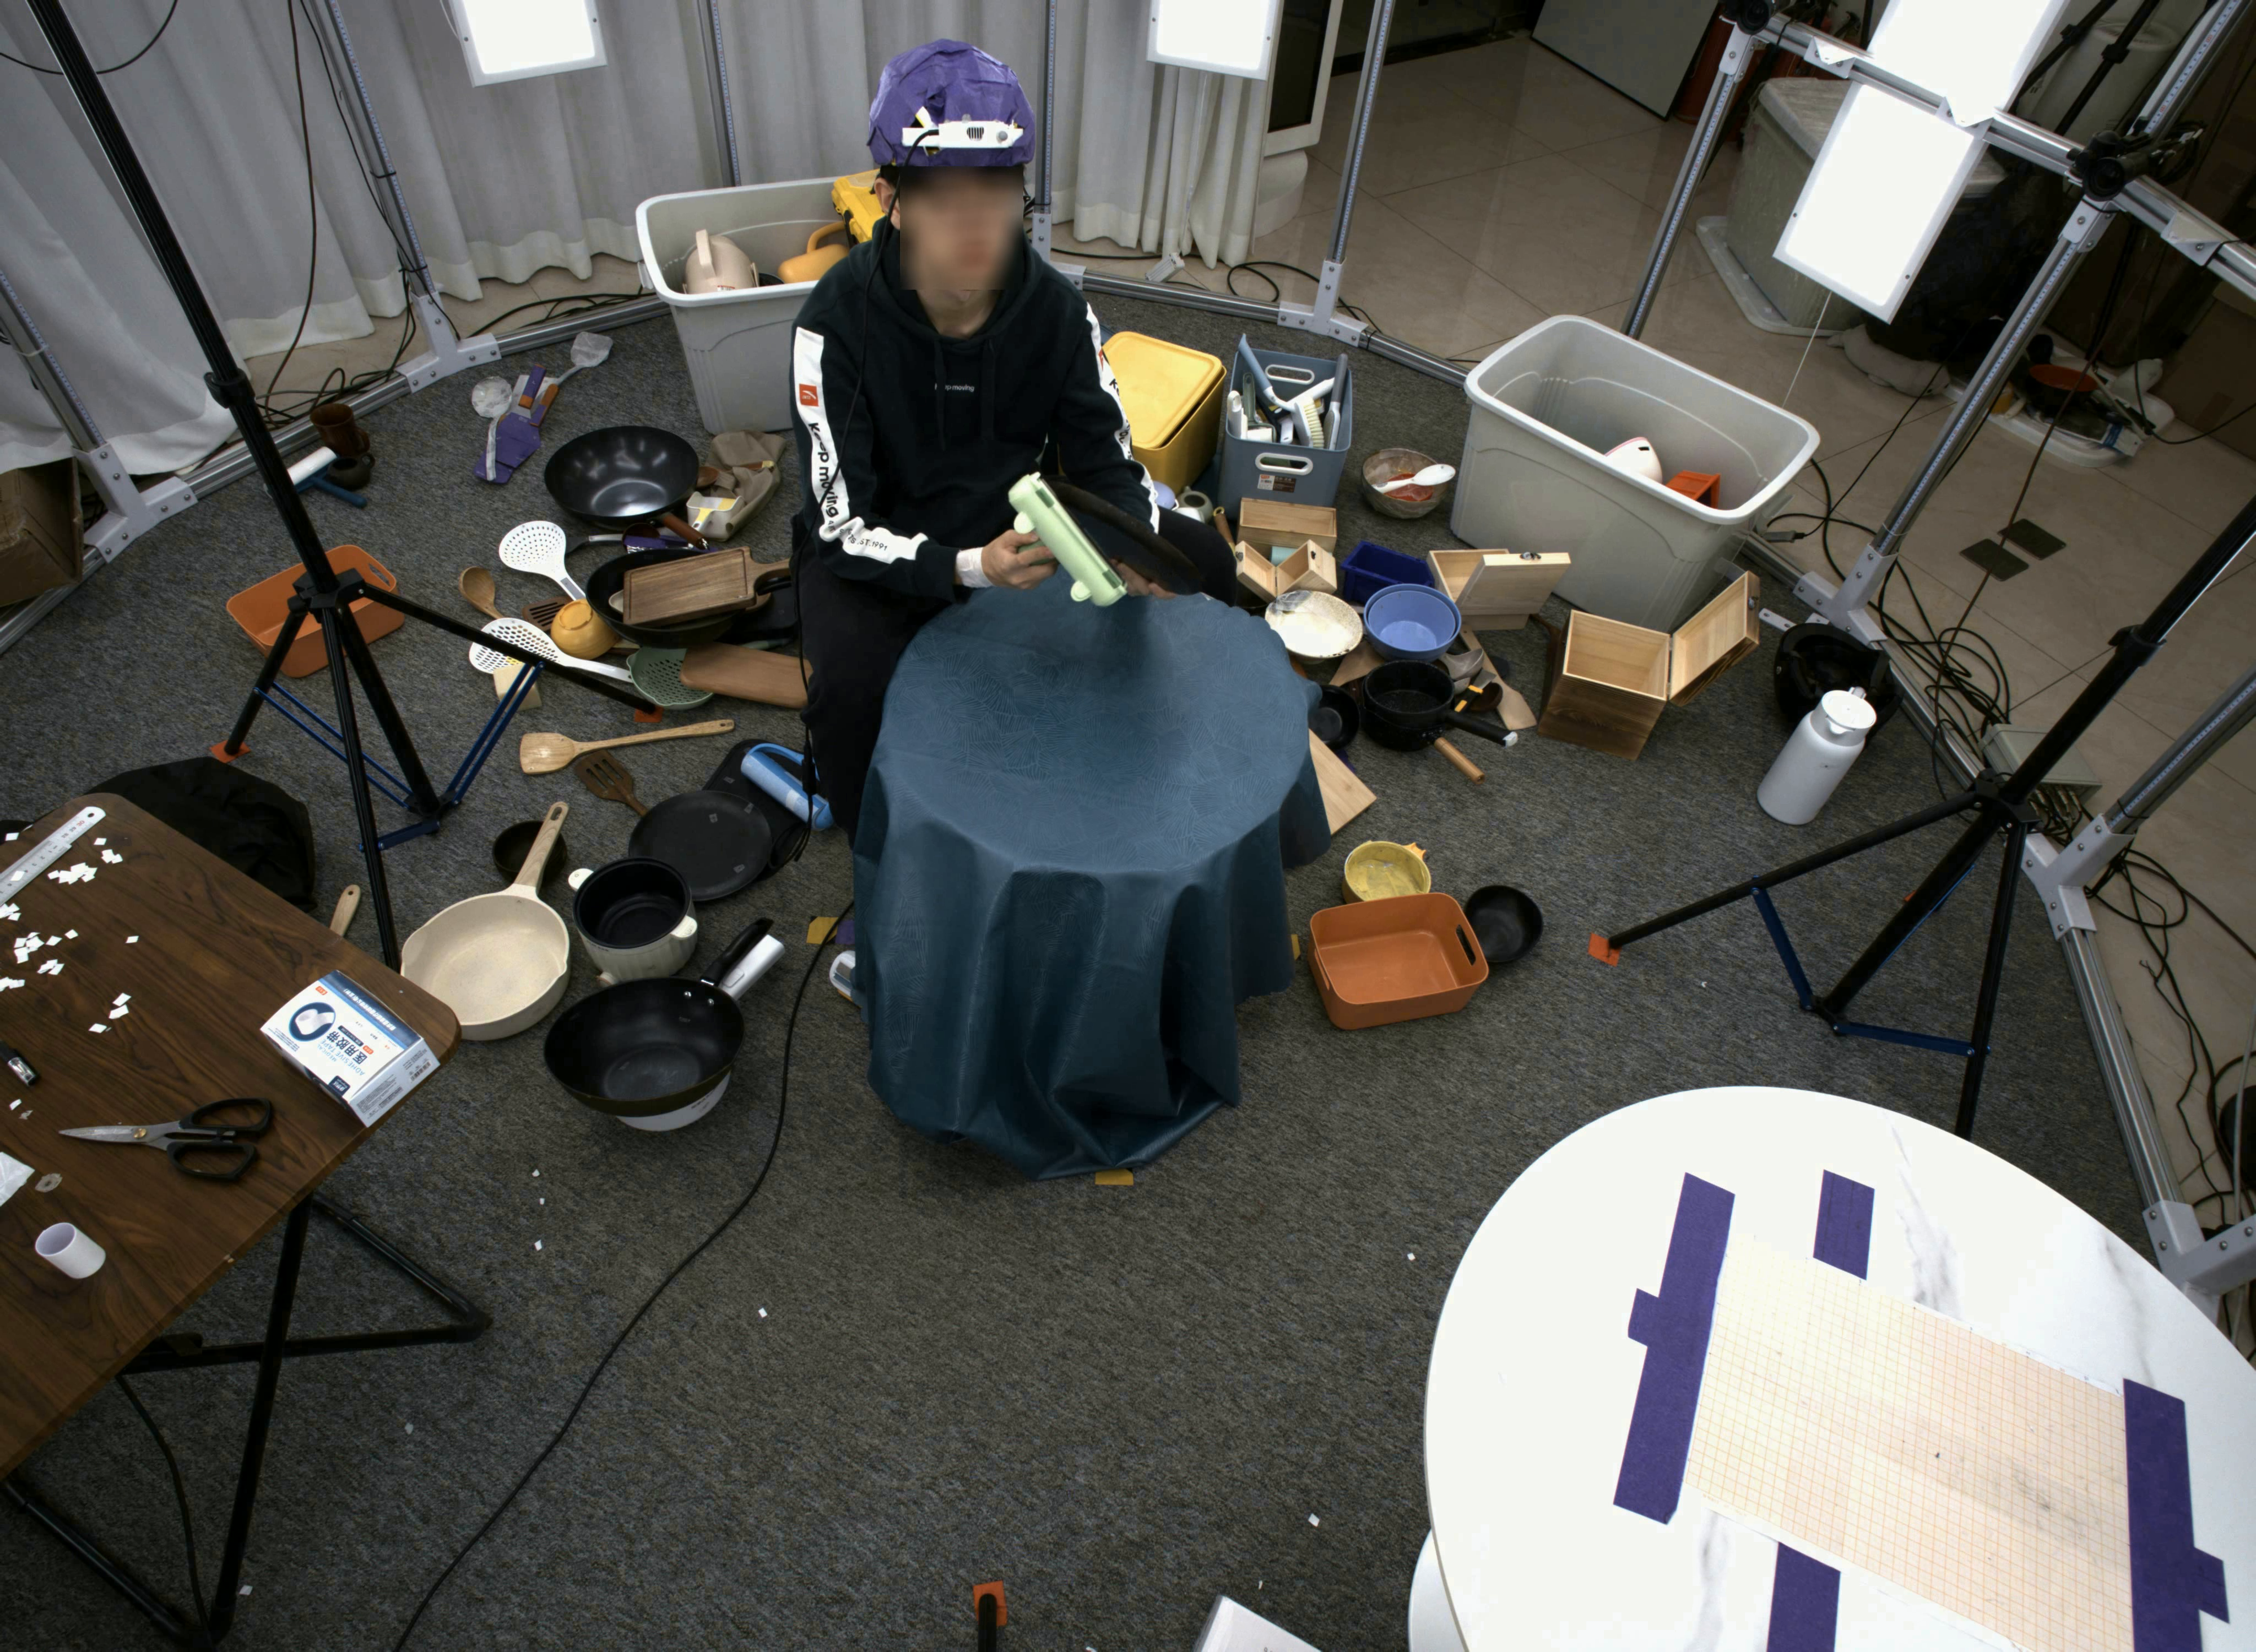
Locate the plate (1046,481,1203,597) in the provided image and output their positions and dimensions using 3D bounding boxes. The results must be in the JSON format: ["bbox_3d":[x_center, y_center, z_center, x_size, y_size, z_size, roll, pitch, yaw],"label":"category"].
[{"bbox_3d":[-0.010,-0.384,1.741,0.257,0.252,0.029,32,91,21],"label":"plate"}]

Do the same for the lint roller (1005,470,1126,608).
[{"bbox_3d":[-0.117,-0.359,1.712,0.196,0.183,0.083,49,55,-20],"label":"lint roller"}]
